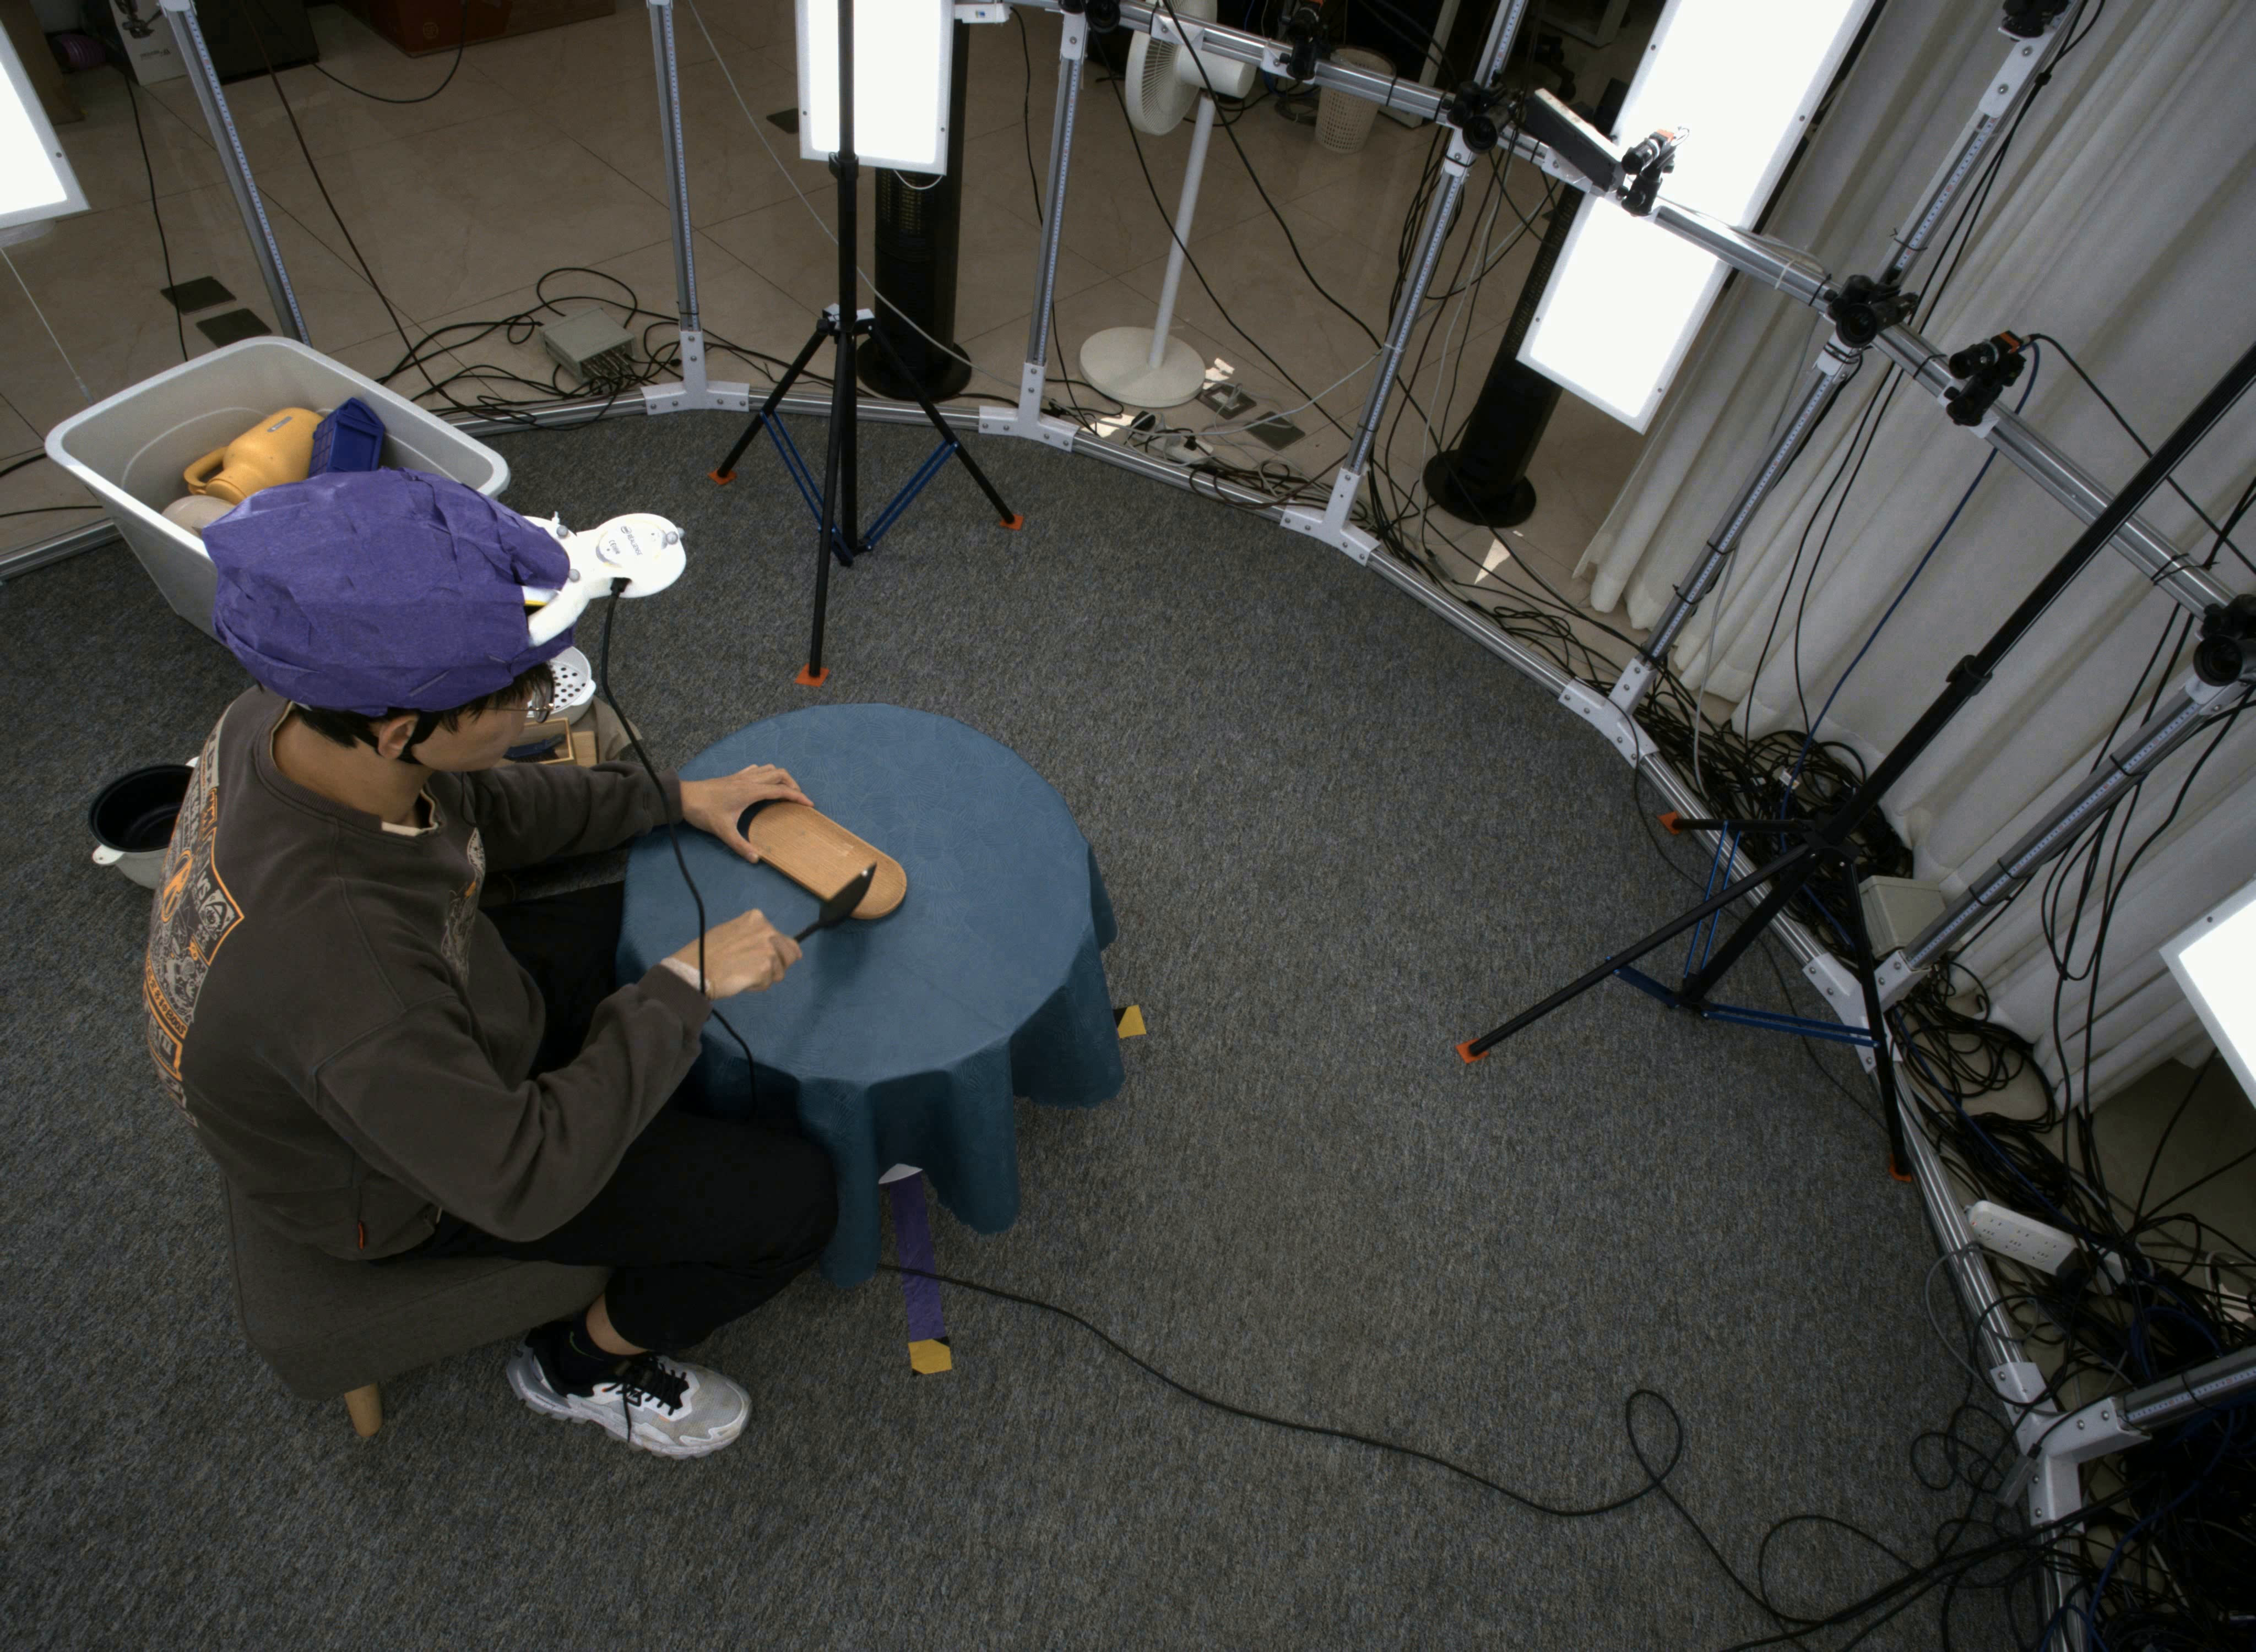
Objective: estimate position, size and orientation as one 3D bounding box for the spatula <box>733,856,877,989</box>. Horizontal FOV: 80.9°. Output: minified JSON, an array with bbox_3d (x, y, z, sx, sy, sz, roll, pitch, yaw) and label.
[{"bbox_3d":[-0.376,0.115,1.497,0.040,0.099,0.325,49,20,-1],"label":"spatula"}]

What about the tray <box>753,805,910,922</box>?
[{"bbox_3d":[-0.390,0.047,1.703,0.227,0.021,0.101,32,55,9],"label":"tray"}]
